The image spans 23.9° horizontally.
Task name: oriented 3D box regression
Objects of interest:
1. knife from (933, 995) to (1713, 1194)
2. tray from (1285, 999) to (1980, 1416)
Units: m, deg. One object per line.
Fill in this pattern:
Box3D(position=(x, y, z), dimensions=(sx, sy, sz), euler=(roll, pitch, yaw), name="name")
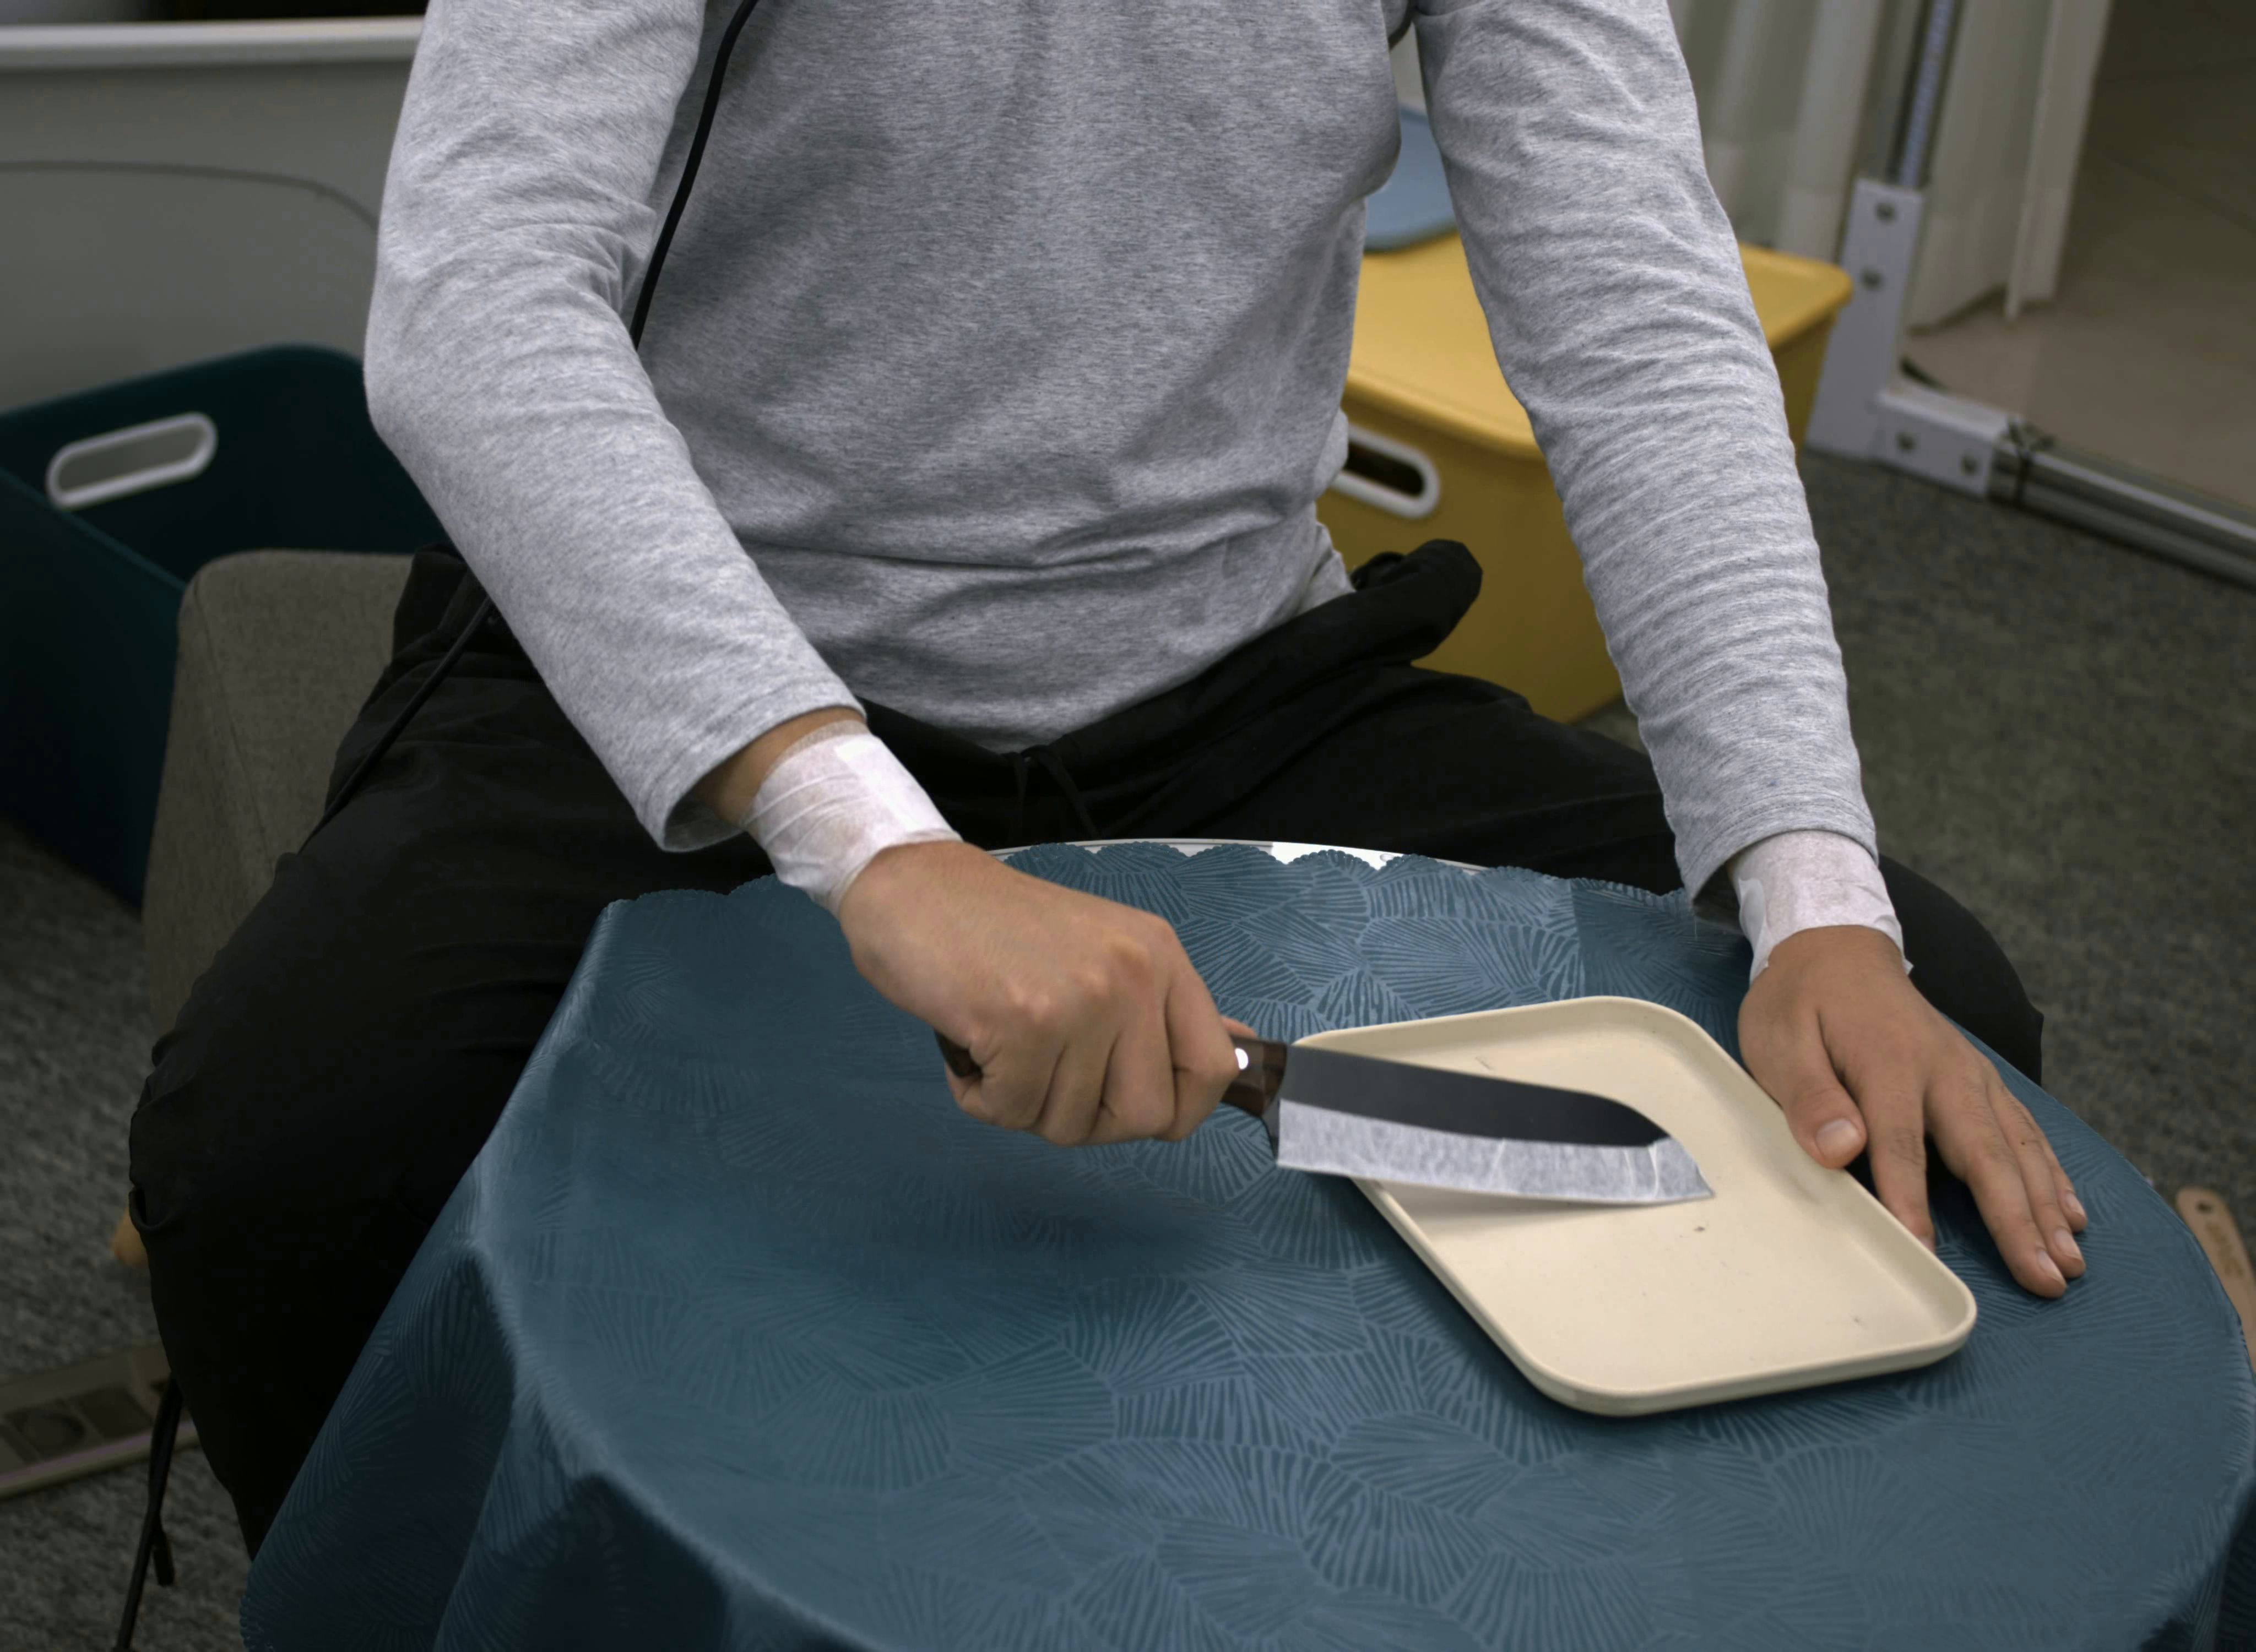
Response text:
Box3D(position=(0.070, 0.092, 1.793), dimensions=(0.287, 0.020, 0.050), euler=(11, 65, -19), name="knife")
Box3D(position=(0.167, 0.128, 1.815), dimensions=(0.170, 0.017, 0.242), euler=(-6, 29, -24), name="tray")
